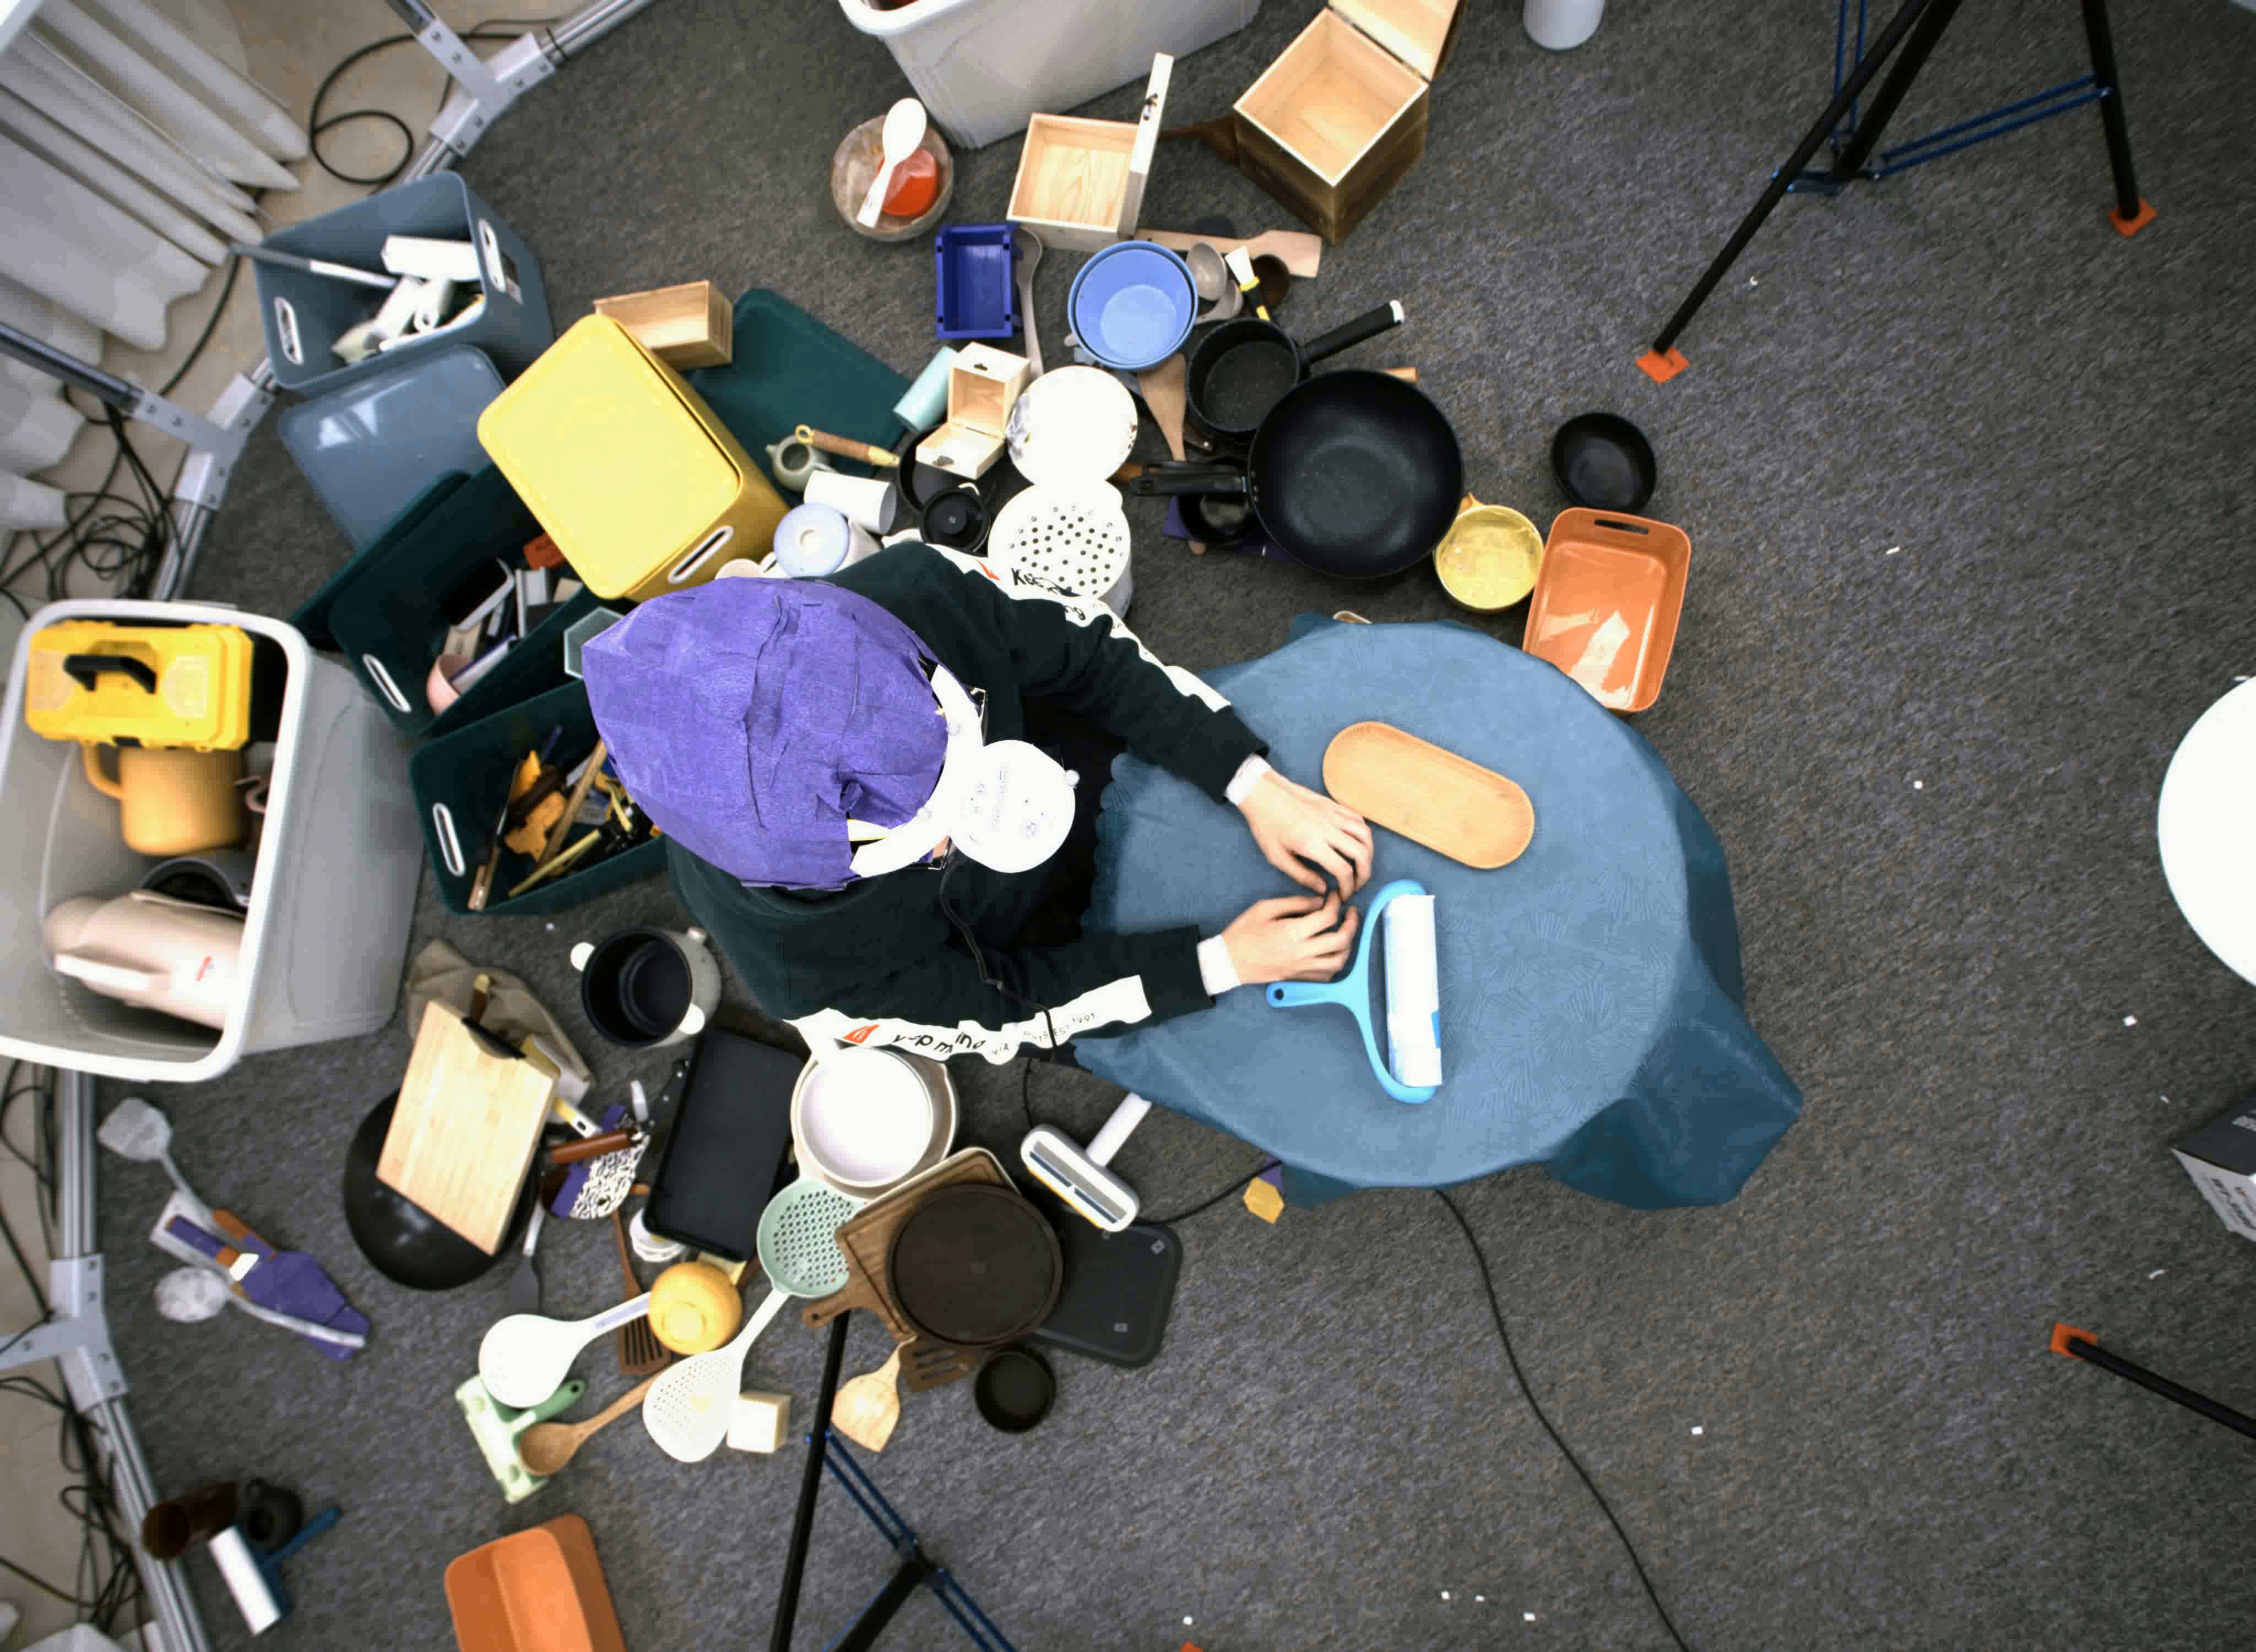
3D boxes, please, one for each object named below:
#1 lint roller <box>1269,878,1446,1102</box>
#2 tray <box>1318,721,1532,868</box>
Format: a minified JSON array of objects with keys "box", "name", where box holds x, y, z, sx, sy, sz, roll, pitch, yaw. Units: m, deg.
[{"box":[0.235,0.172,1.428,0.181,0.068,0.228,-6,87,9],"name":"lint roller"},{"box":[0.310,-0.035,1.445,0.231,0.020,0.101,24,90,12],"name":"tray"}]
